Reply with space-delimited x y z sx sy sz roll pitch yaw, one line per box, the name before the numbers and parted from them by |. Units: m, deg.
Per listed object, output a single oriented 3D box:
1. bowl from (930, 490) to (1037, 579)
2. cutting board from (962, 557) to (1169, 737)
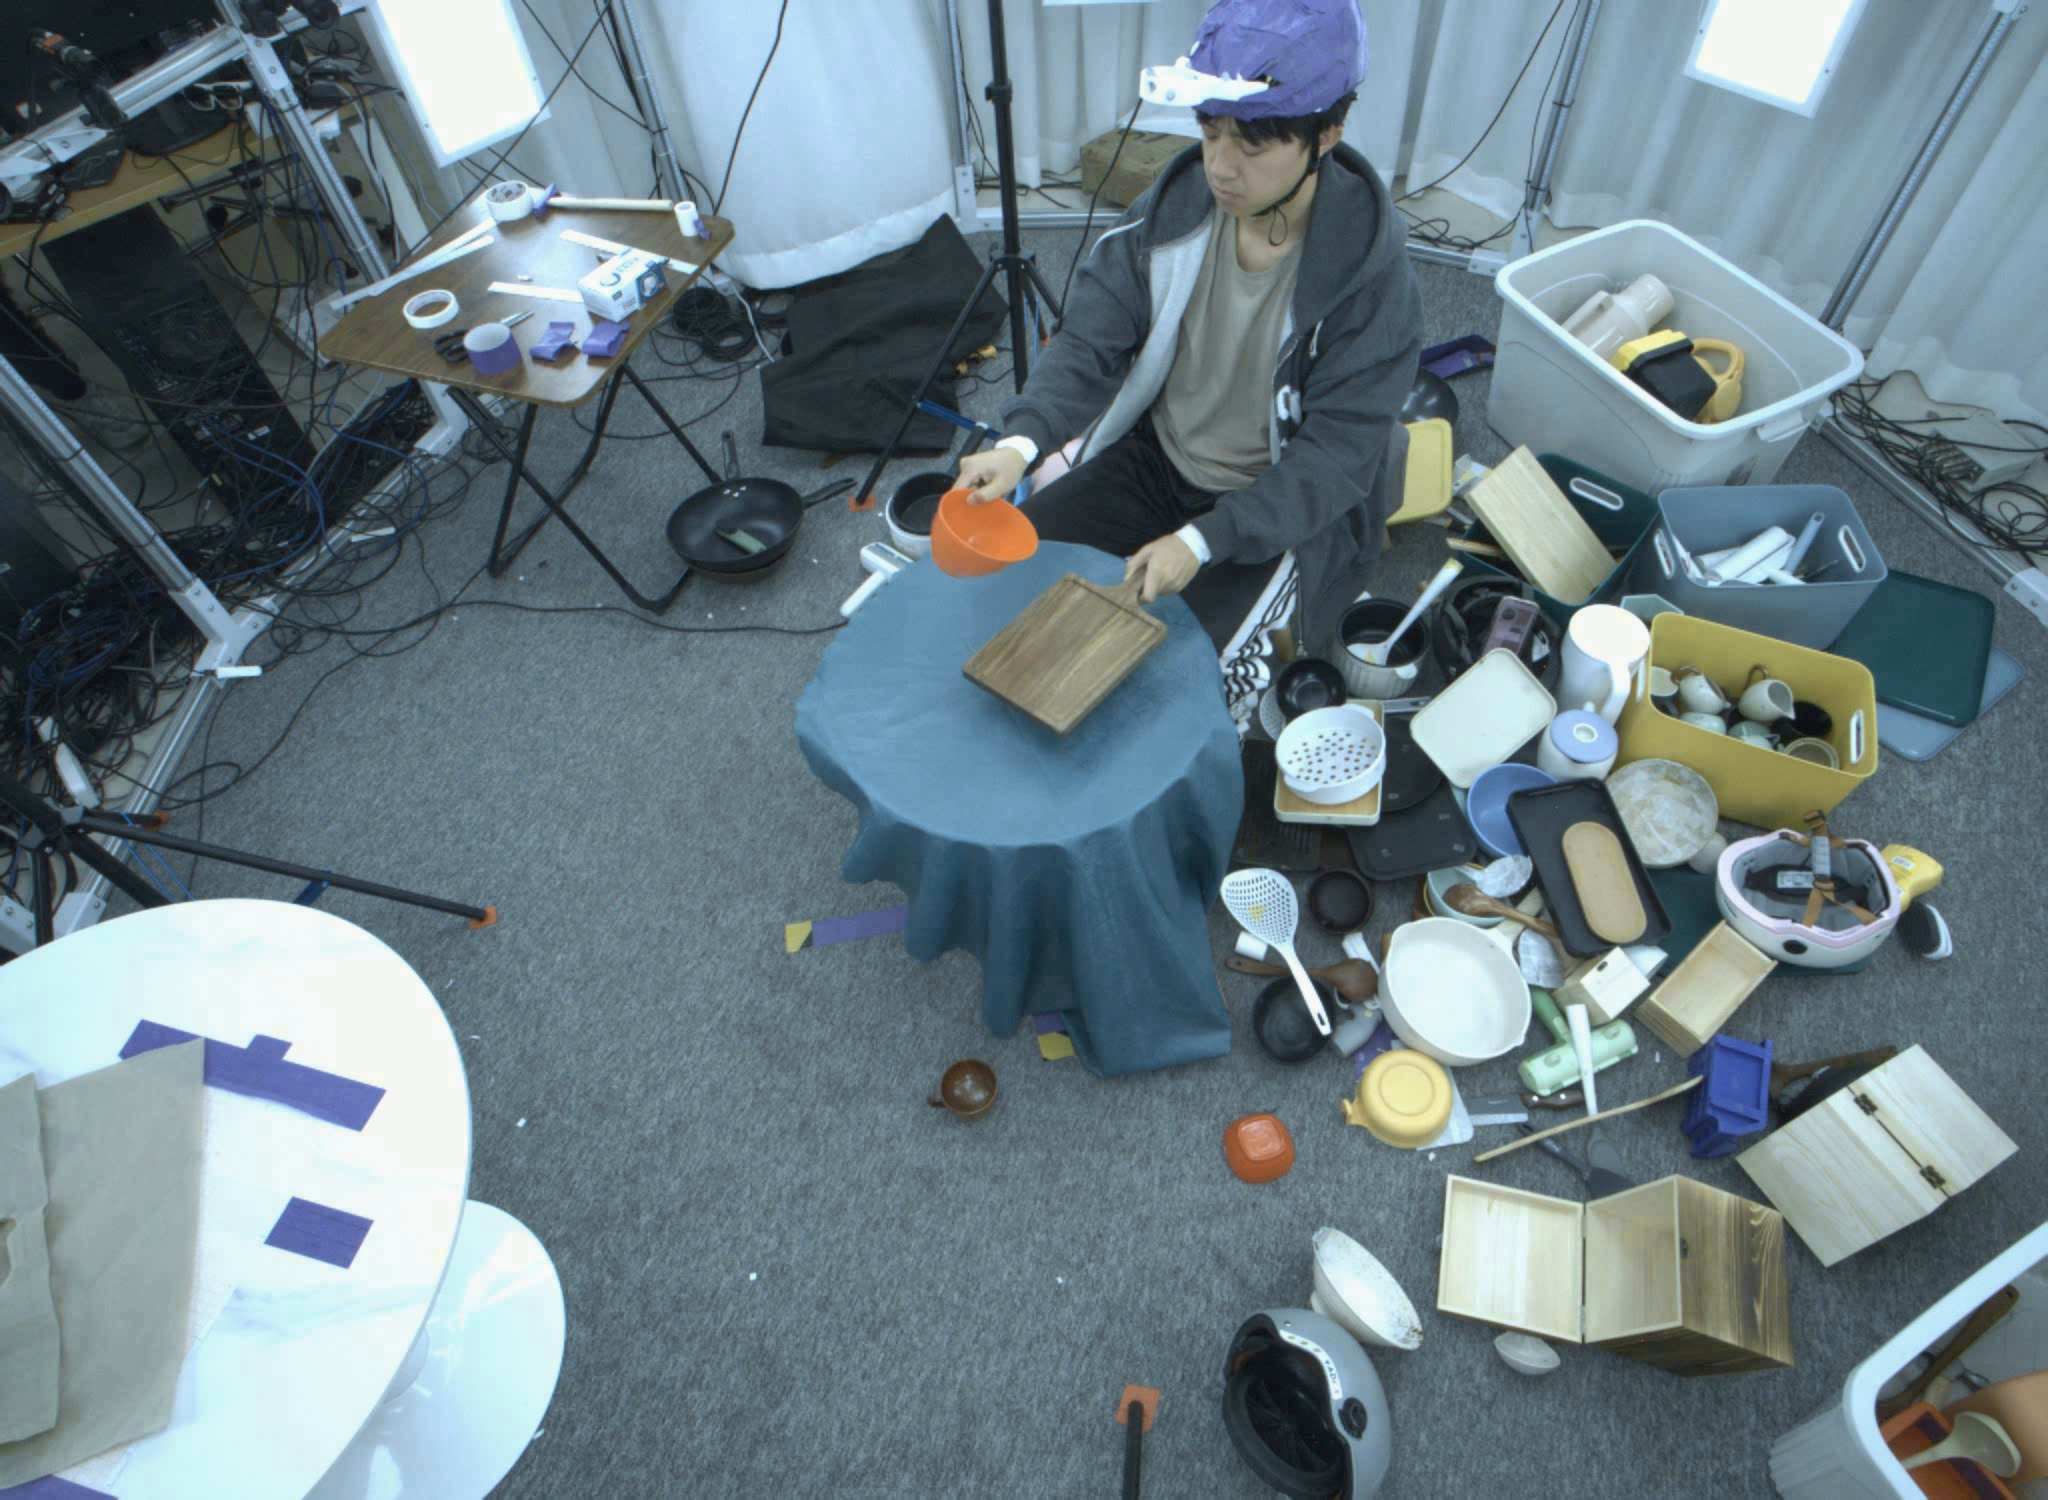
bowl | -0.071 -0.289 1.723 0.151 0.103 0.146 24 47 -26
cutting board | 0.094 -0.176 1.821 0.197 0.023 0.354 33 62 25
